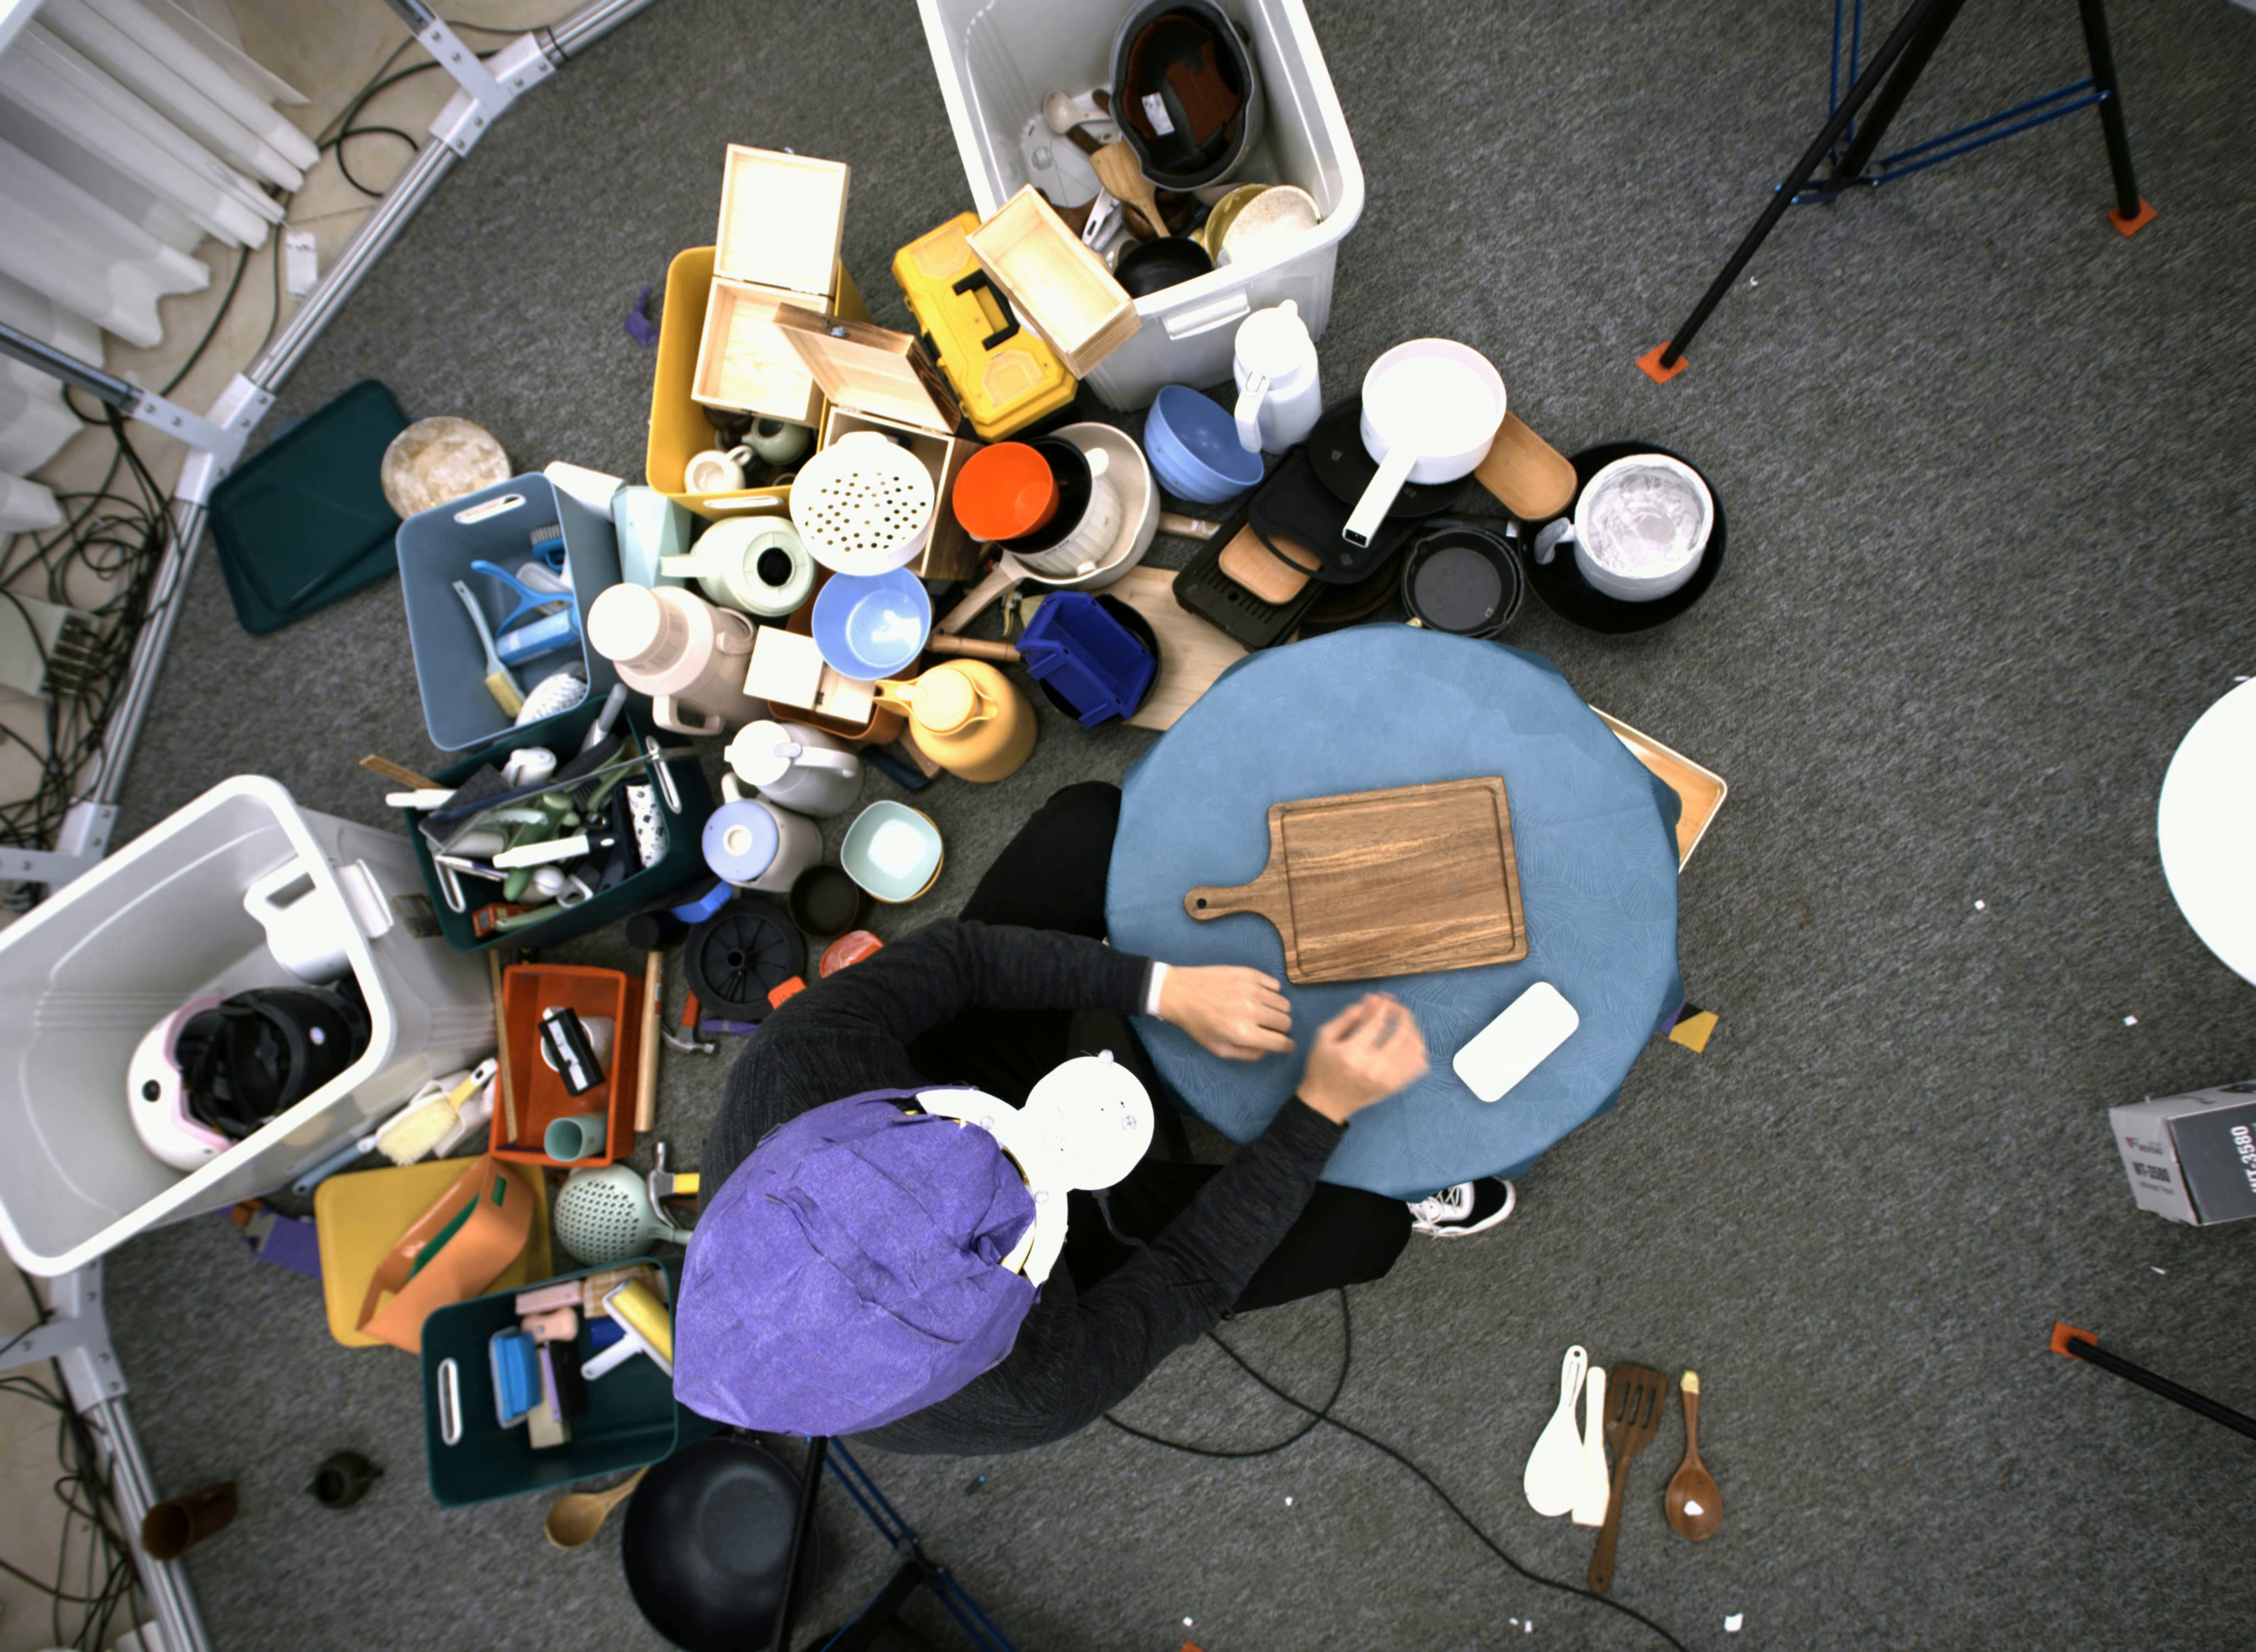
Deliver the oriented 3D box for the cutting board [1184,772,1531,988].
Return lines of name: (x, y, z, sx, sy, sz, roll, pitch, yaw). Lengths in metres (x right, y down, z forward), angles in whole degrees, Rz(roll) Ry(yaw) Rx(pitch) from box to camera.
cutting board: (0.233, 0.063, 1.457, 0.354, 0.023, 0.200, -8, 85, 10)

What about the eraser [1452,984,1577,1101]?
eraser: (0.394, 0.218, 1.413, 0.132, 0.034, 0.063, -41, 82, 5)
